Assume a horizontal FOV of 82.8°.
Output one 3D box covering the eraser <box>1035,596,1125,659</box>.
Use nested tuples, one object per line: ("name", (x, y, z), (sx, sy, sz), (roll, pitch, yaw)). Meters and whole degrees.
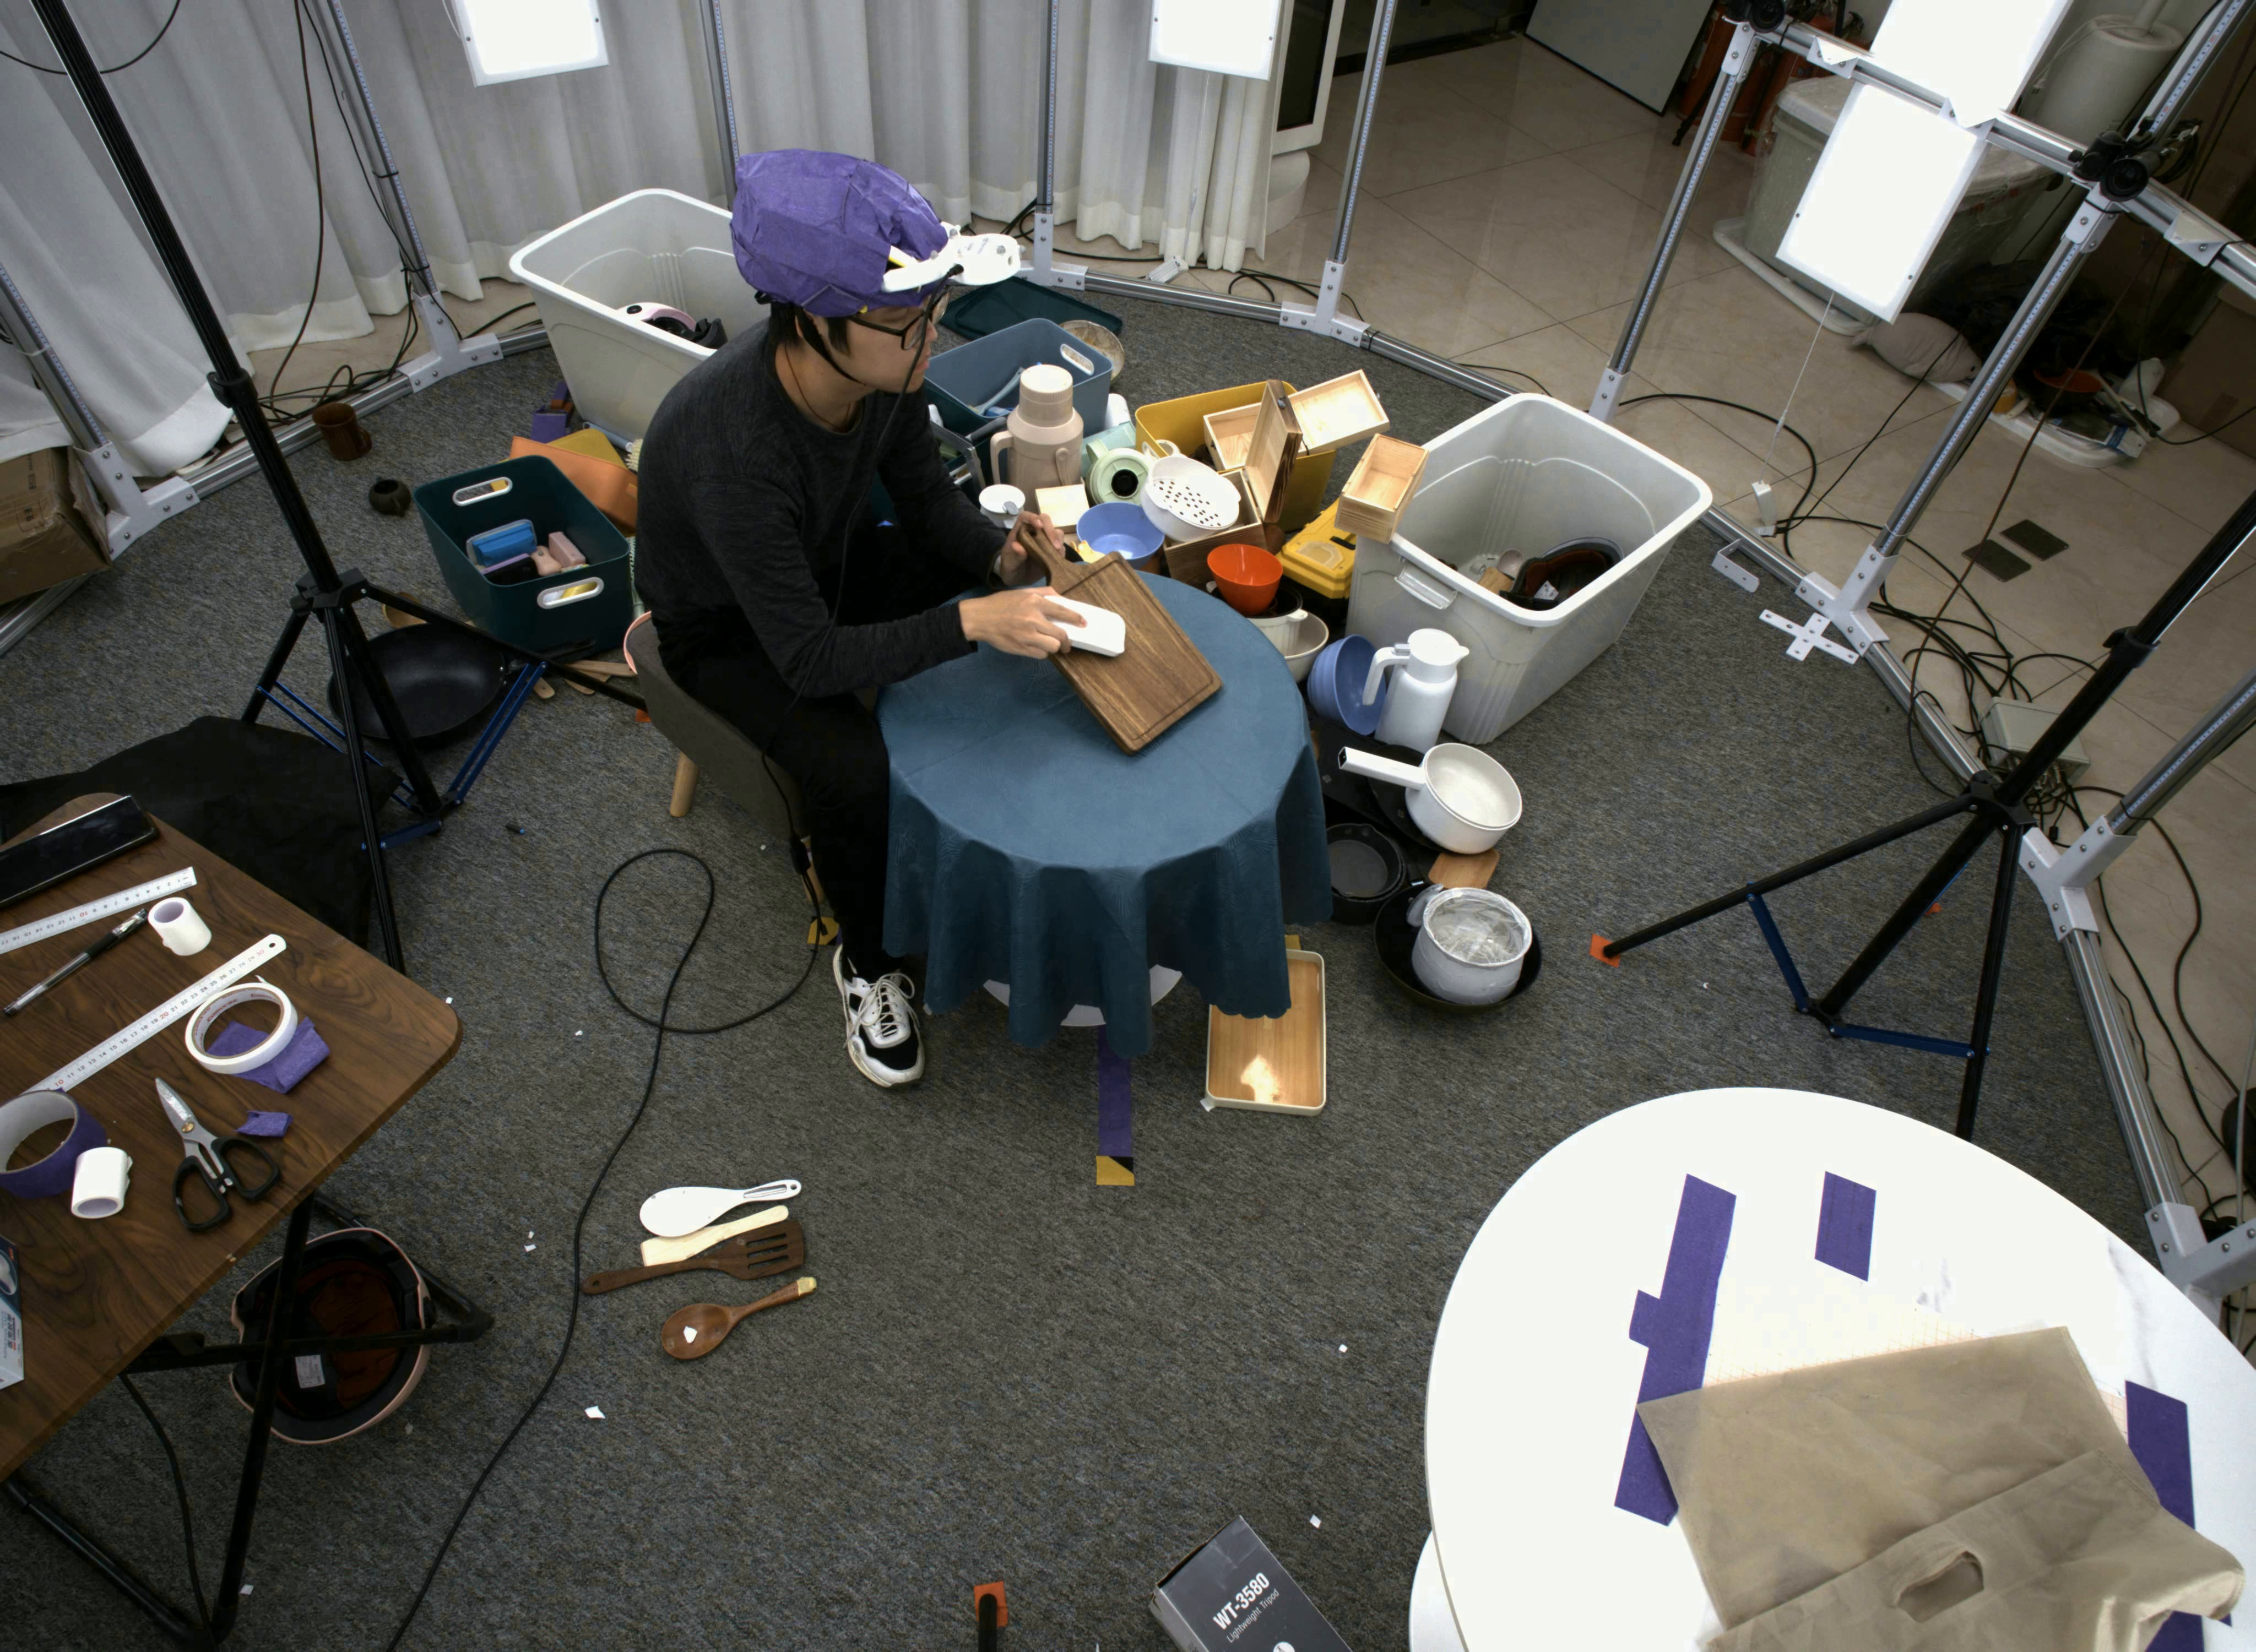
("eraser", (-0.064, -0.273, 1.756), (0.130, 0.034, 0.064), (12, 64, -27))

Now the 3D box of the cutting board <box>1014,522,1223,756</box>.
("cutting board", (-0.038, -0.284, 1.801), (0.203, 0.023, 0.353), (-38, 87, -30))
